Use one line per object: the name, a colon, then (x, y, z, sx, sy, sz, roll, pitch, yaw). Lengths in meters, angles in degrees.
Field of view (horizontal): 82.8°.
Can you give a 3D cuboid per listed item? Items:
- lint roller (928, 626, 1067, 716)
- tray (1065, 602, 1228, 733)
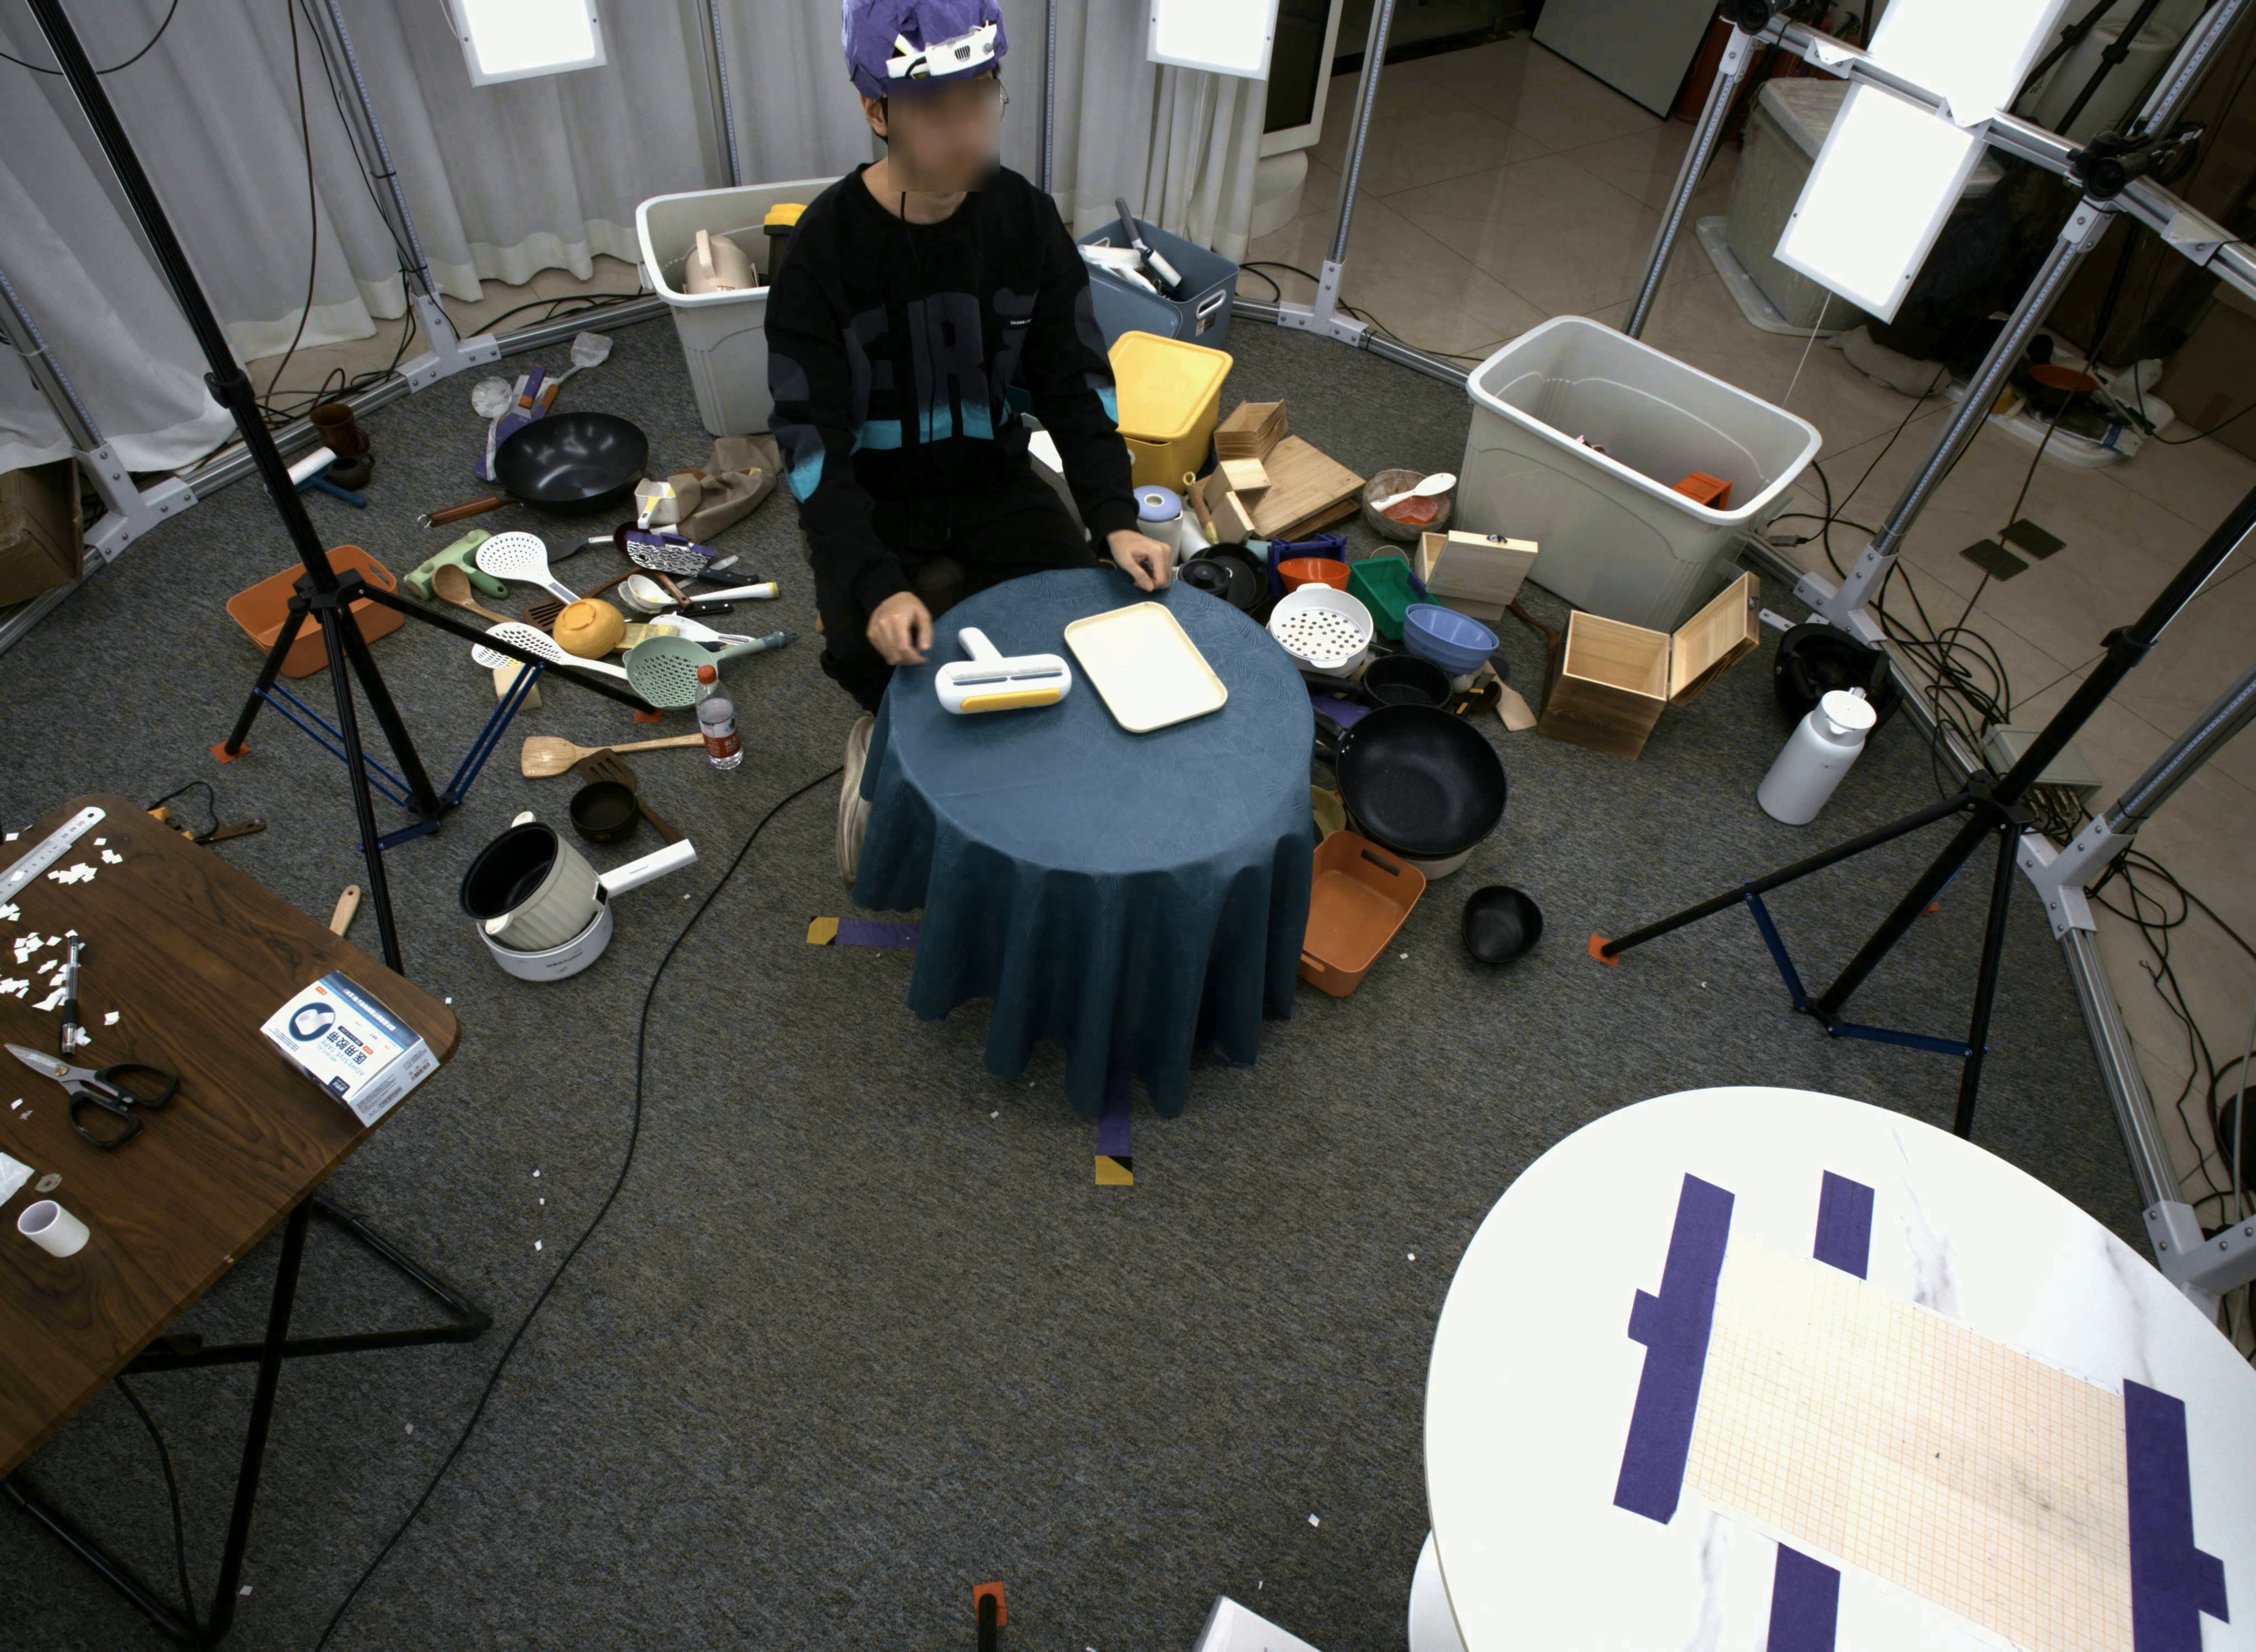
lint roller: (-0.197, -0.232, 1.814, 0.192, 0.072, 0.197, -8, 48, -18)
tray: (0.024, -0.232, 1.859, 0.171, 0.017, 0.245, -18, 53, -18)
